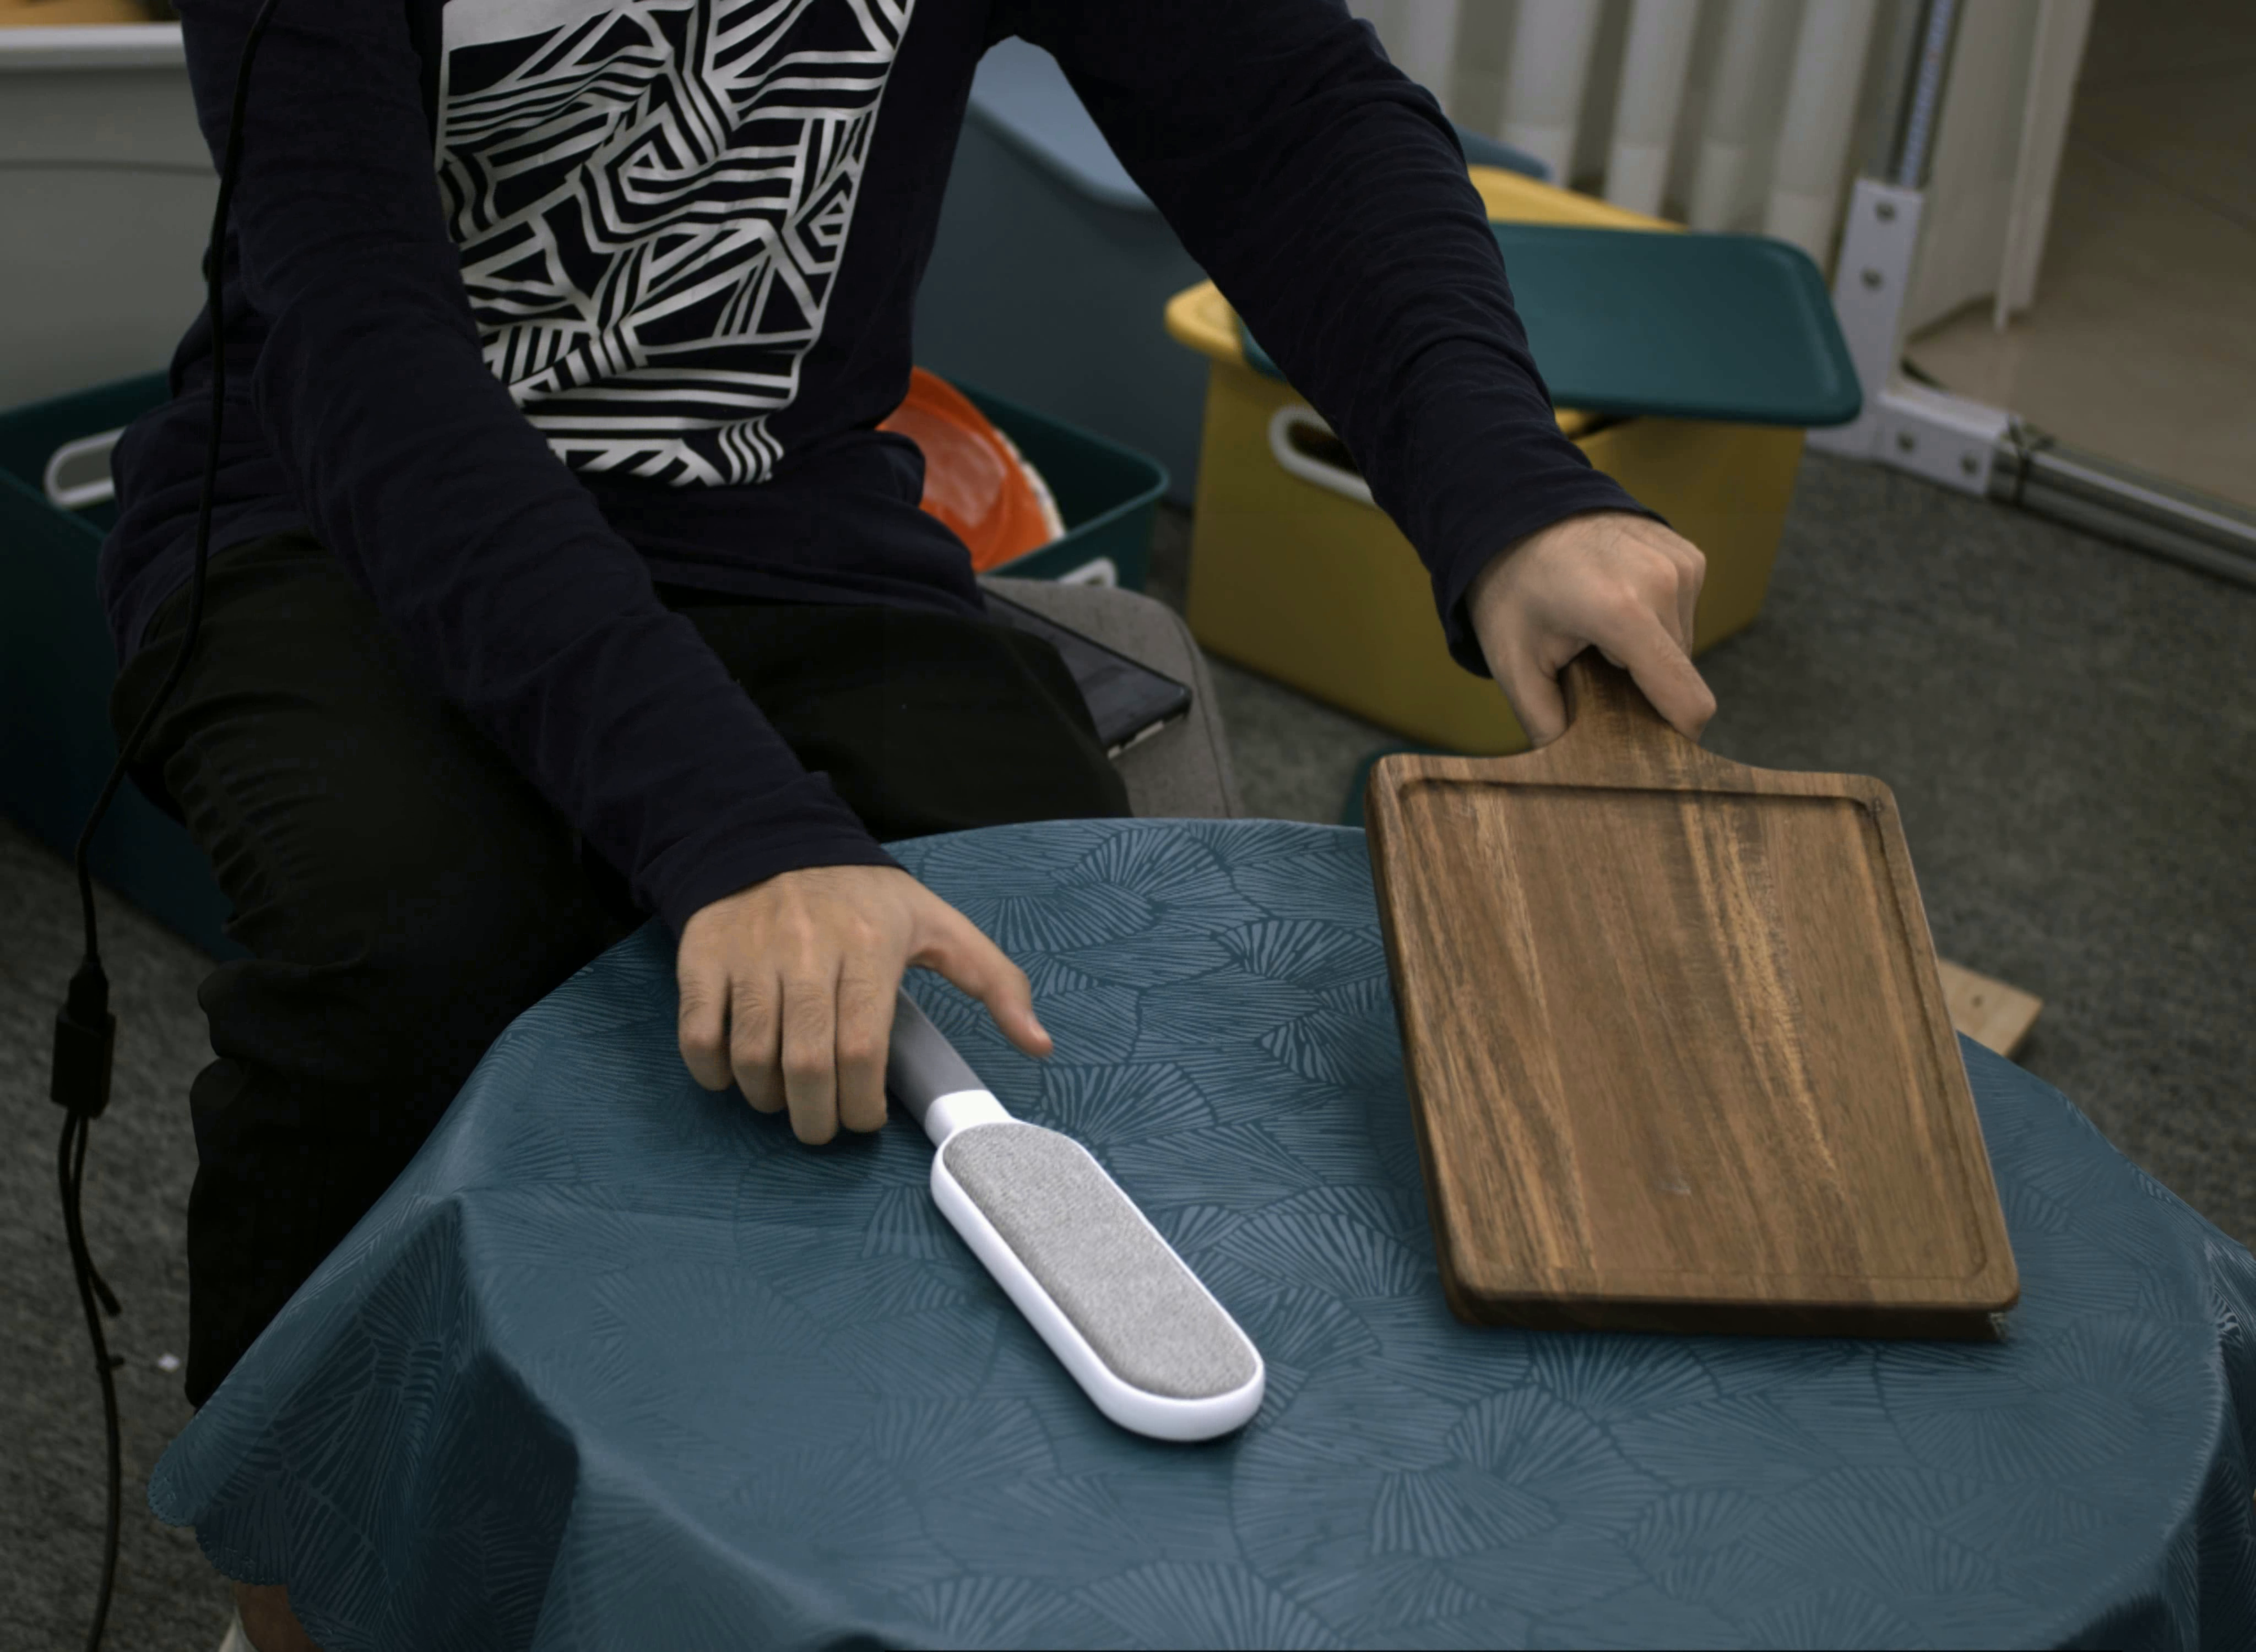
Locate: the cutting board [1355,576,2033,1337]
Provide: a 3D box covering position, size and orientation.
[{"bbox_3d":[0.187,0.038,1.876,0.200,0.023,0.355,2,45,-9],"label":"cutting board"}]

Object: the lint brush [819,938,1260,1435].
[{"bbox_3d":[-0.037,0.115,1.784,0.060,0.021,0.312,-11,31,-22],"label":"lint brush"}]
